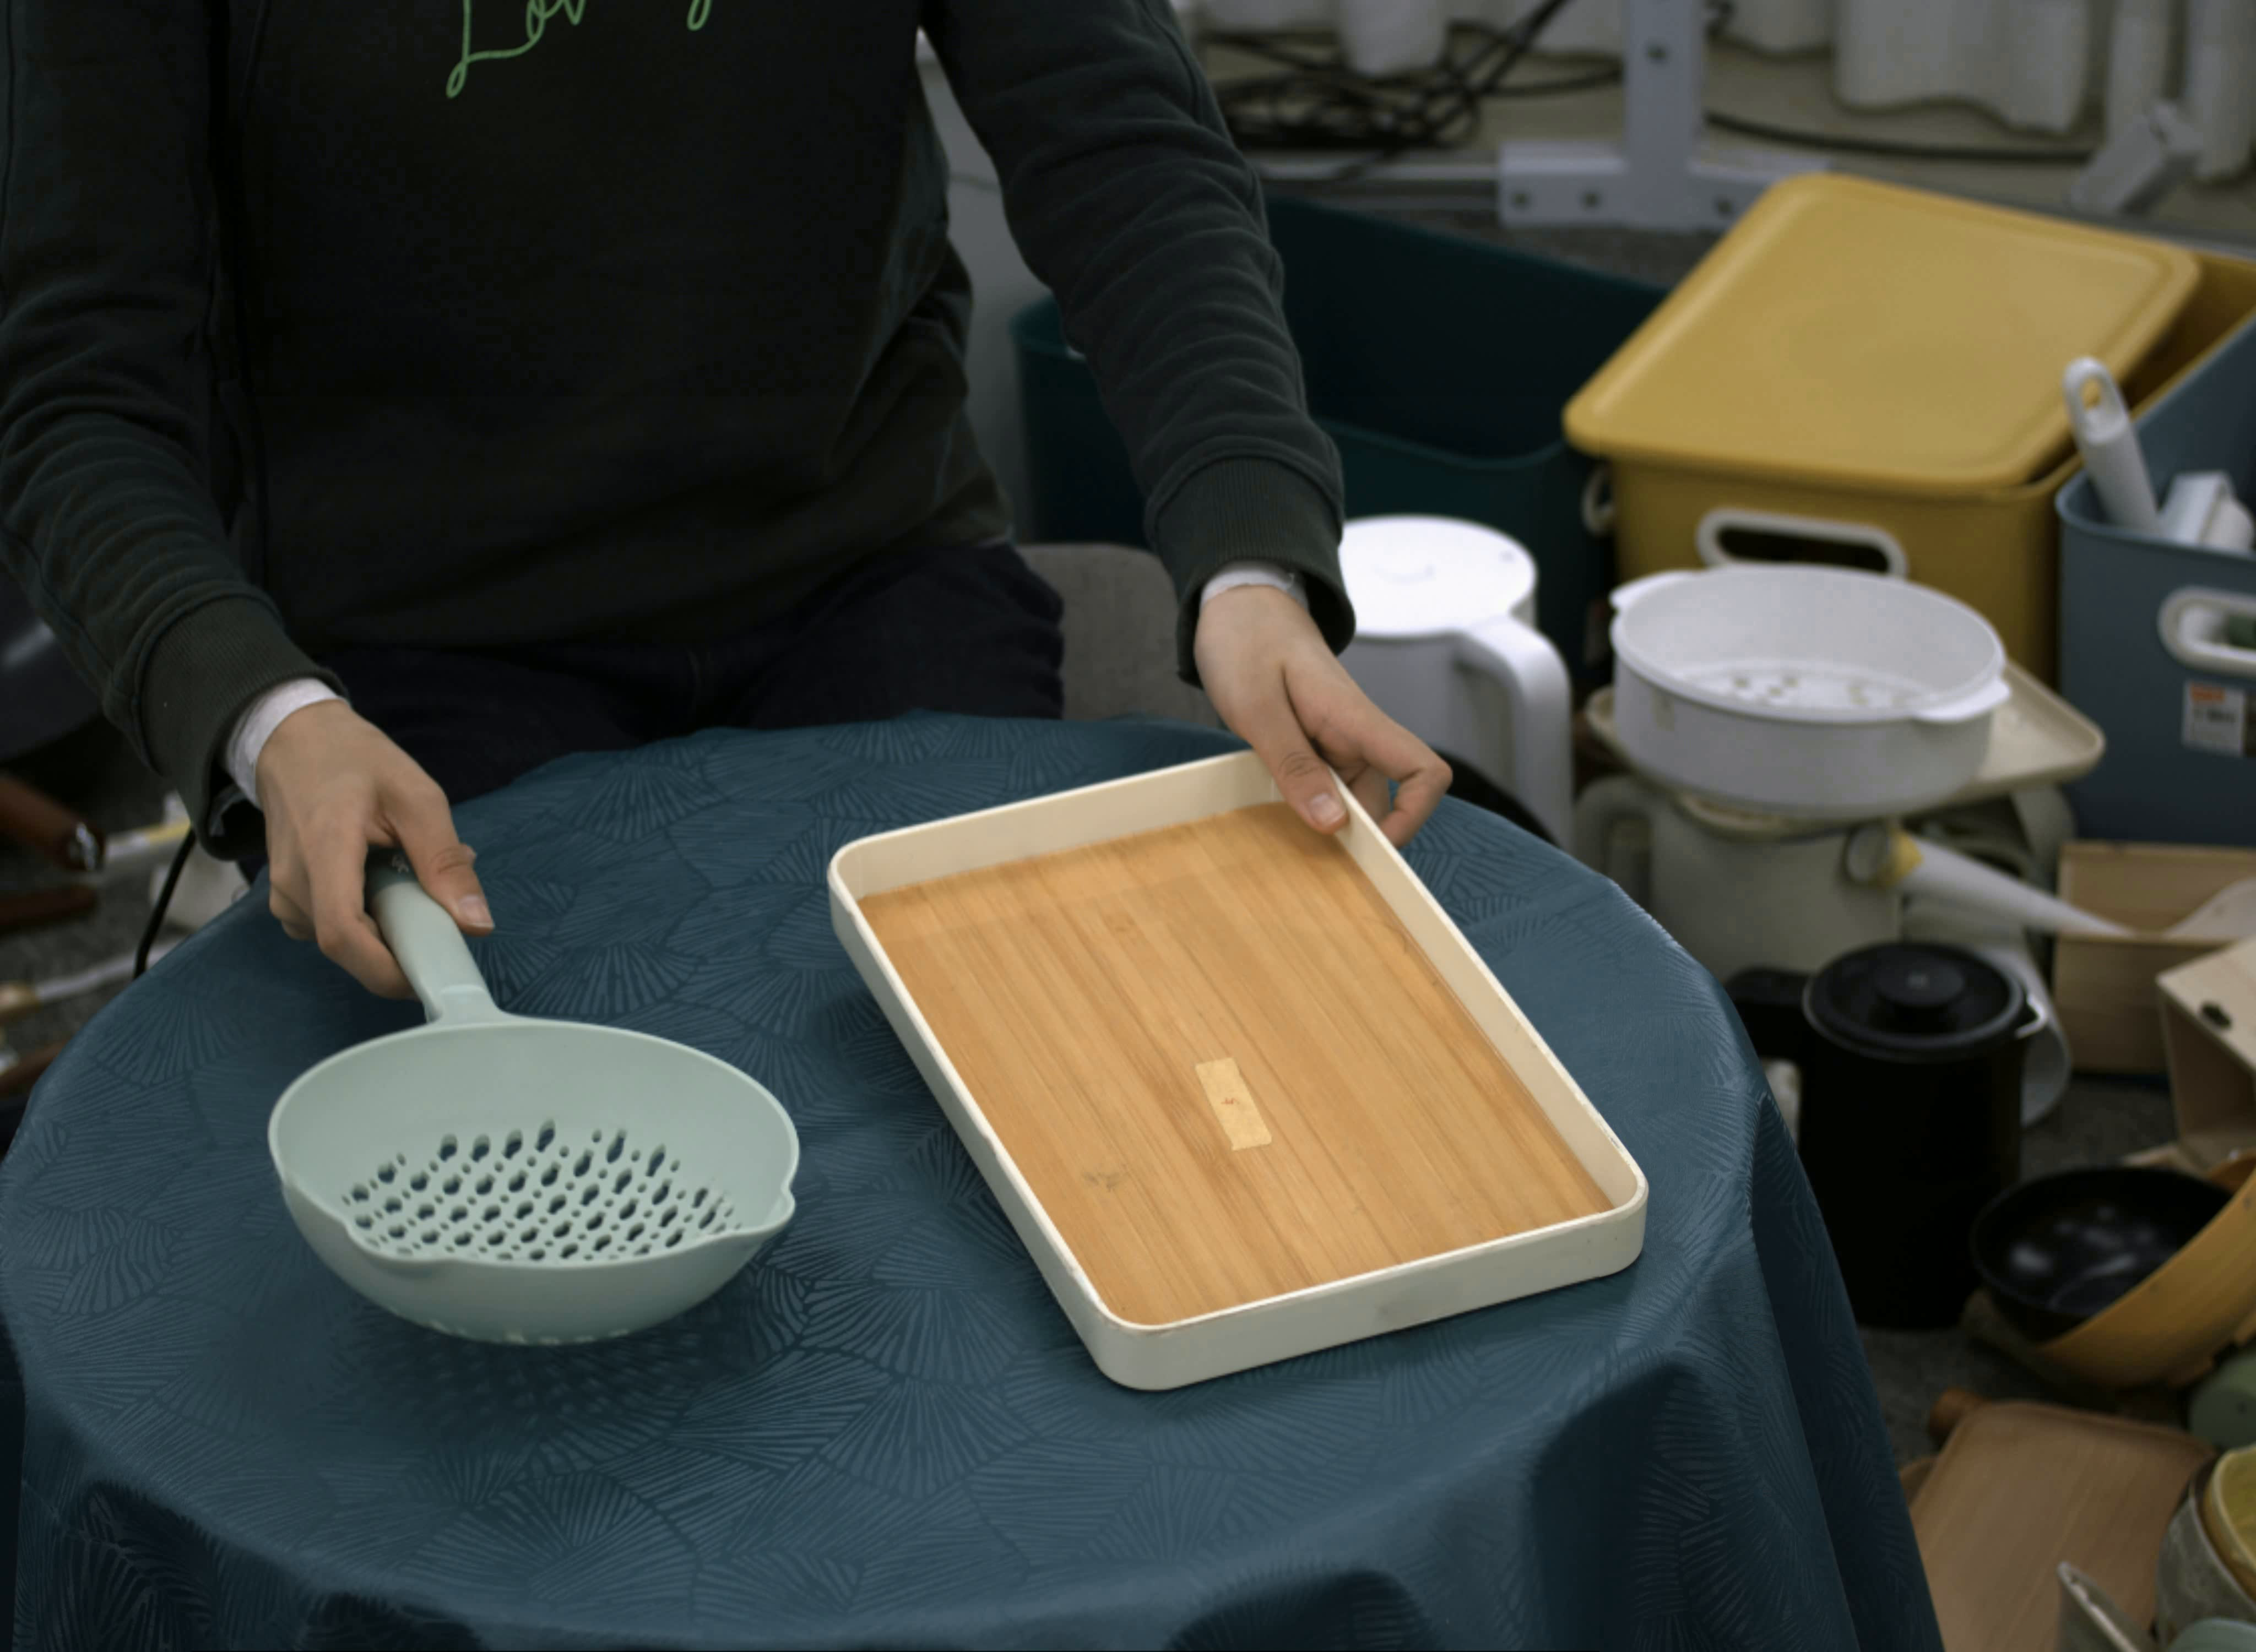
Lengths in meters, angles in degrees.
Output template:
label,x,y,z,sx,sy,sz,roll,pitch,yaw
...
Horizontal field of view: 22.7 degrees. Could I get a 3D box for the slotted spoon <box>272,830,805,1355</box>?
label,x,y,z,sx,sy,sz,roll,pitch,yaw
slotted spoon,-0.218,0.073,1.876,0.169,0.074,0.363,-3,32,-19

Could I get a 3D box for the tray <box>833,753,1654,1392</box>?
label,x,y,z,sx,sy,sz,roll,pitch,yaw
tray,0.033,0.076,1.888,0.192,0.027,0.303,-12,34,-17
